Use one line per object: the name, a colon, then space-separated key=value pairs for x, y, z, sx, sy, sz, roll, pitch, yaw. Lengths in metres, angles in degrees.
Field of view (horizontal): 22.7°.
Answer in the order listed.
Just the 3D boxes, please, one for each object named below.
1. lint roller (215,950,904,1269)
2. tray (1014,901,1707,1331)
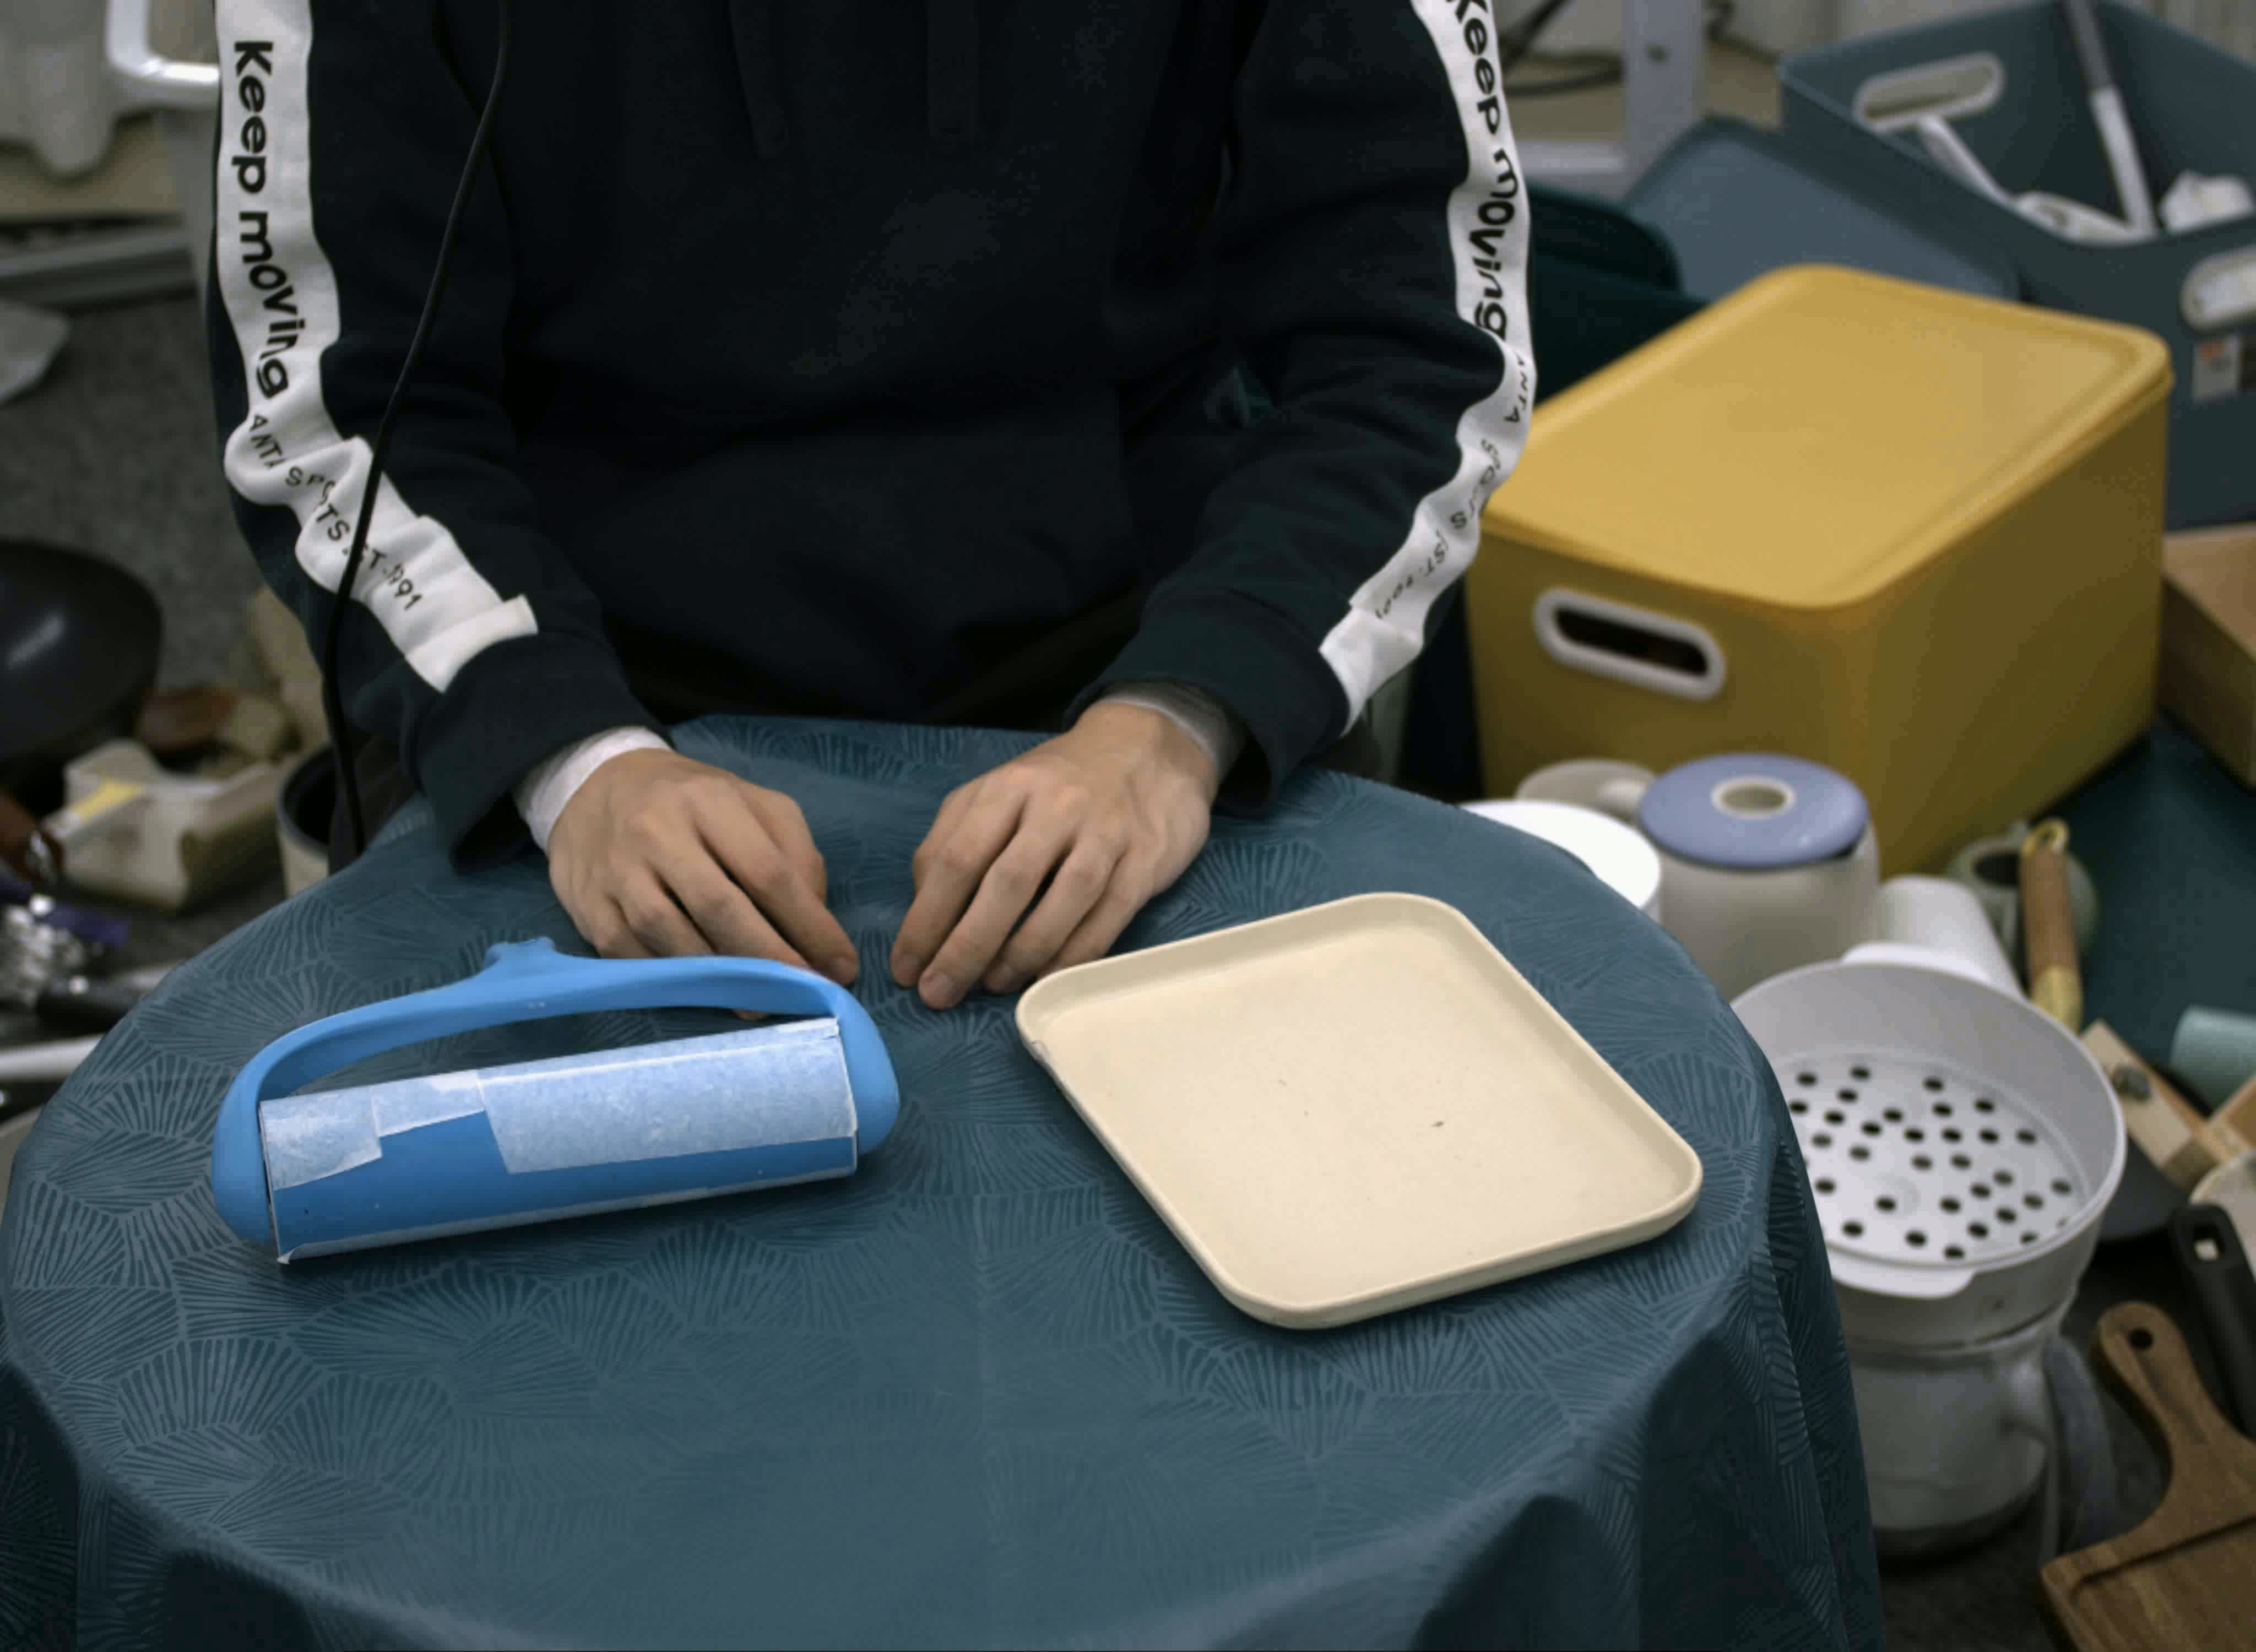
lint roller: x=-0.201 y=0.077 z=1.905 sx=0.229 sy=0.067 sz=0.182 roll=-10 pitch=29 yaw=-11
tray: x=0.074 y=0.095 z=1.884 sx=0.172 sy=0.017 sz=0.241 roll=-12 pitch=29 yaw=-19
